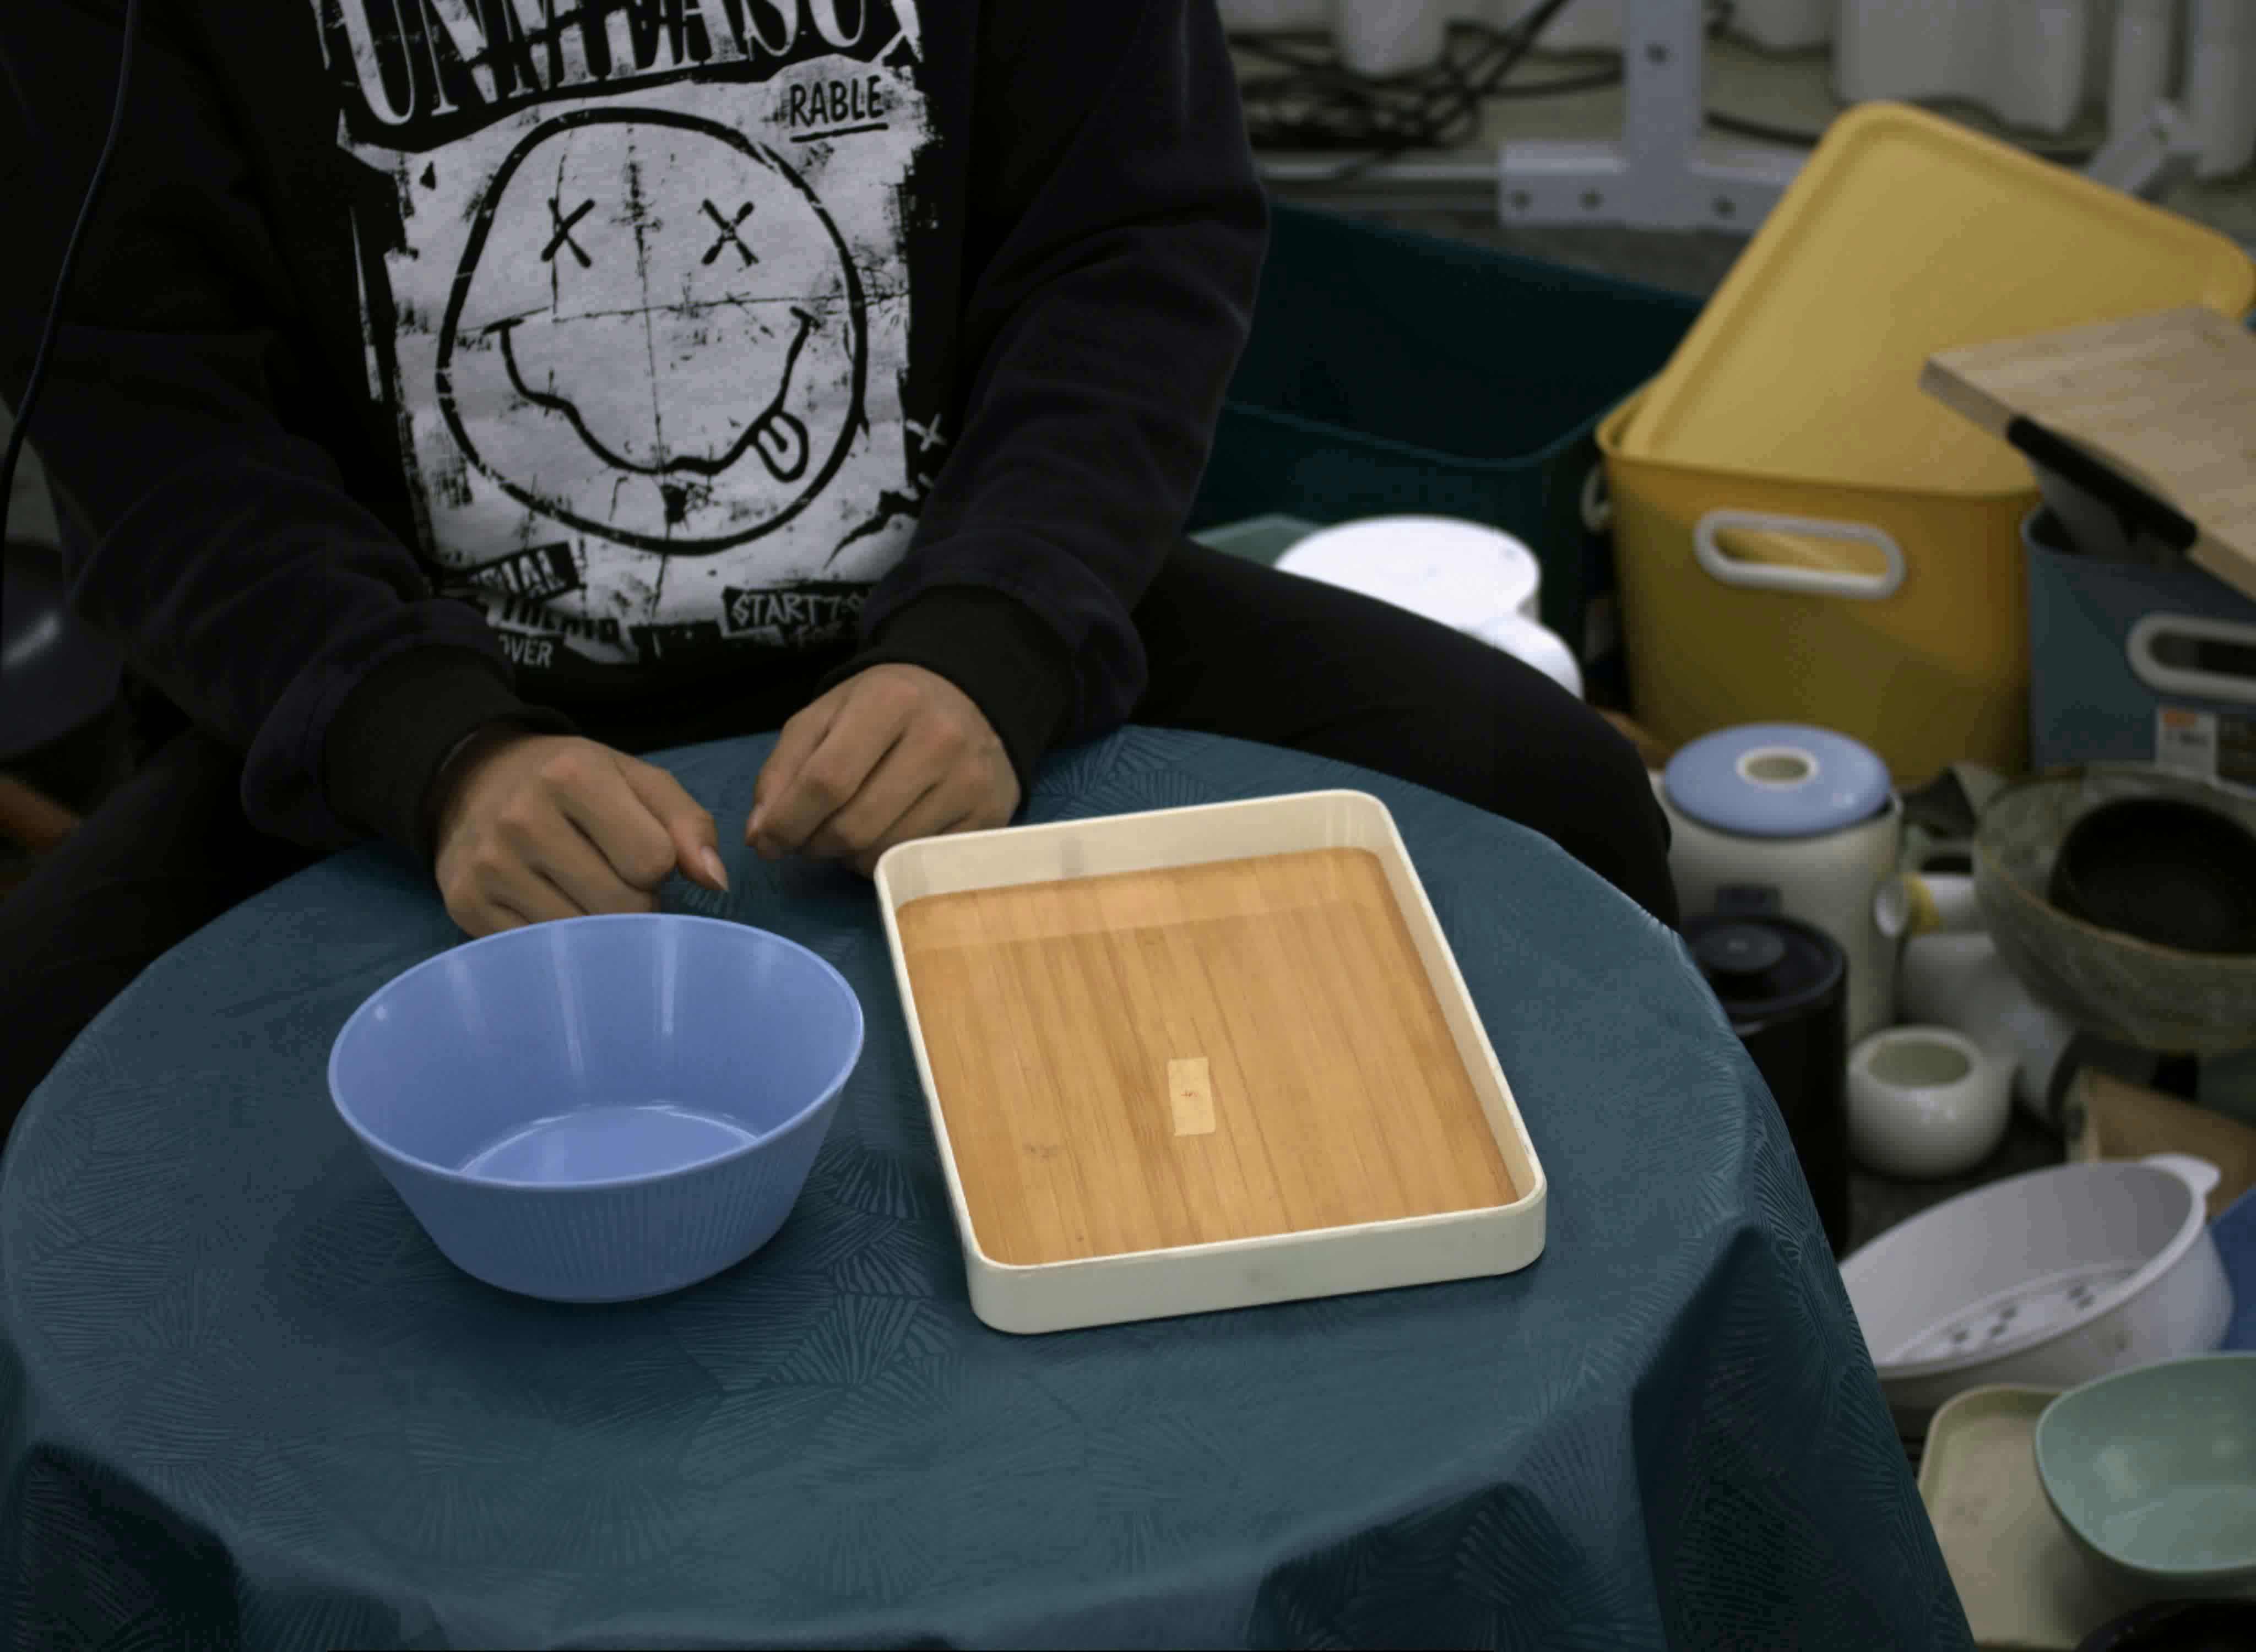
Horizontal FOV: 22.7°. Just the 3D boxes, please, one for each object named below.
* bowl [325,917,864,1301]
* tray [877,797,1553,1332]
[{"bbox_3d":[-0.173,0.099,1.845,0.175,0.069,0.179,-1,27,1],"label":"bowl"},{"bbox_3d":[0.023,0.076,1.919,0.191,0.027,0.304,-6,27,-7],"label":"tray"}]
